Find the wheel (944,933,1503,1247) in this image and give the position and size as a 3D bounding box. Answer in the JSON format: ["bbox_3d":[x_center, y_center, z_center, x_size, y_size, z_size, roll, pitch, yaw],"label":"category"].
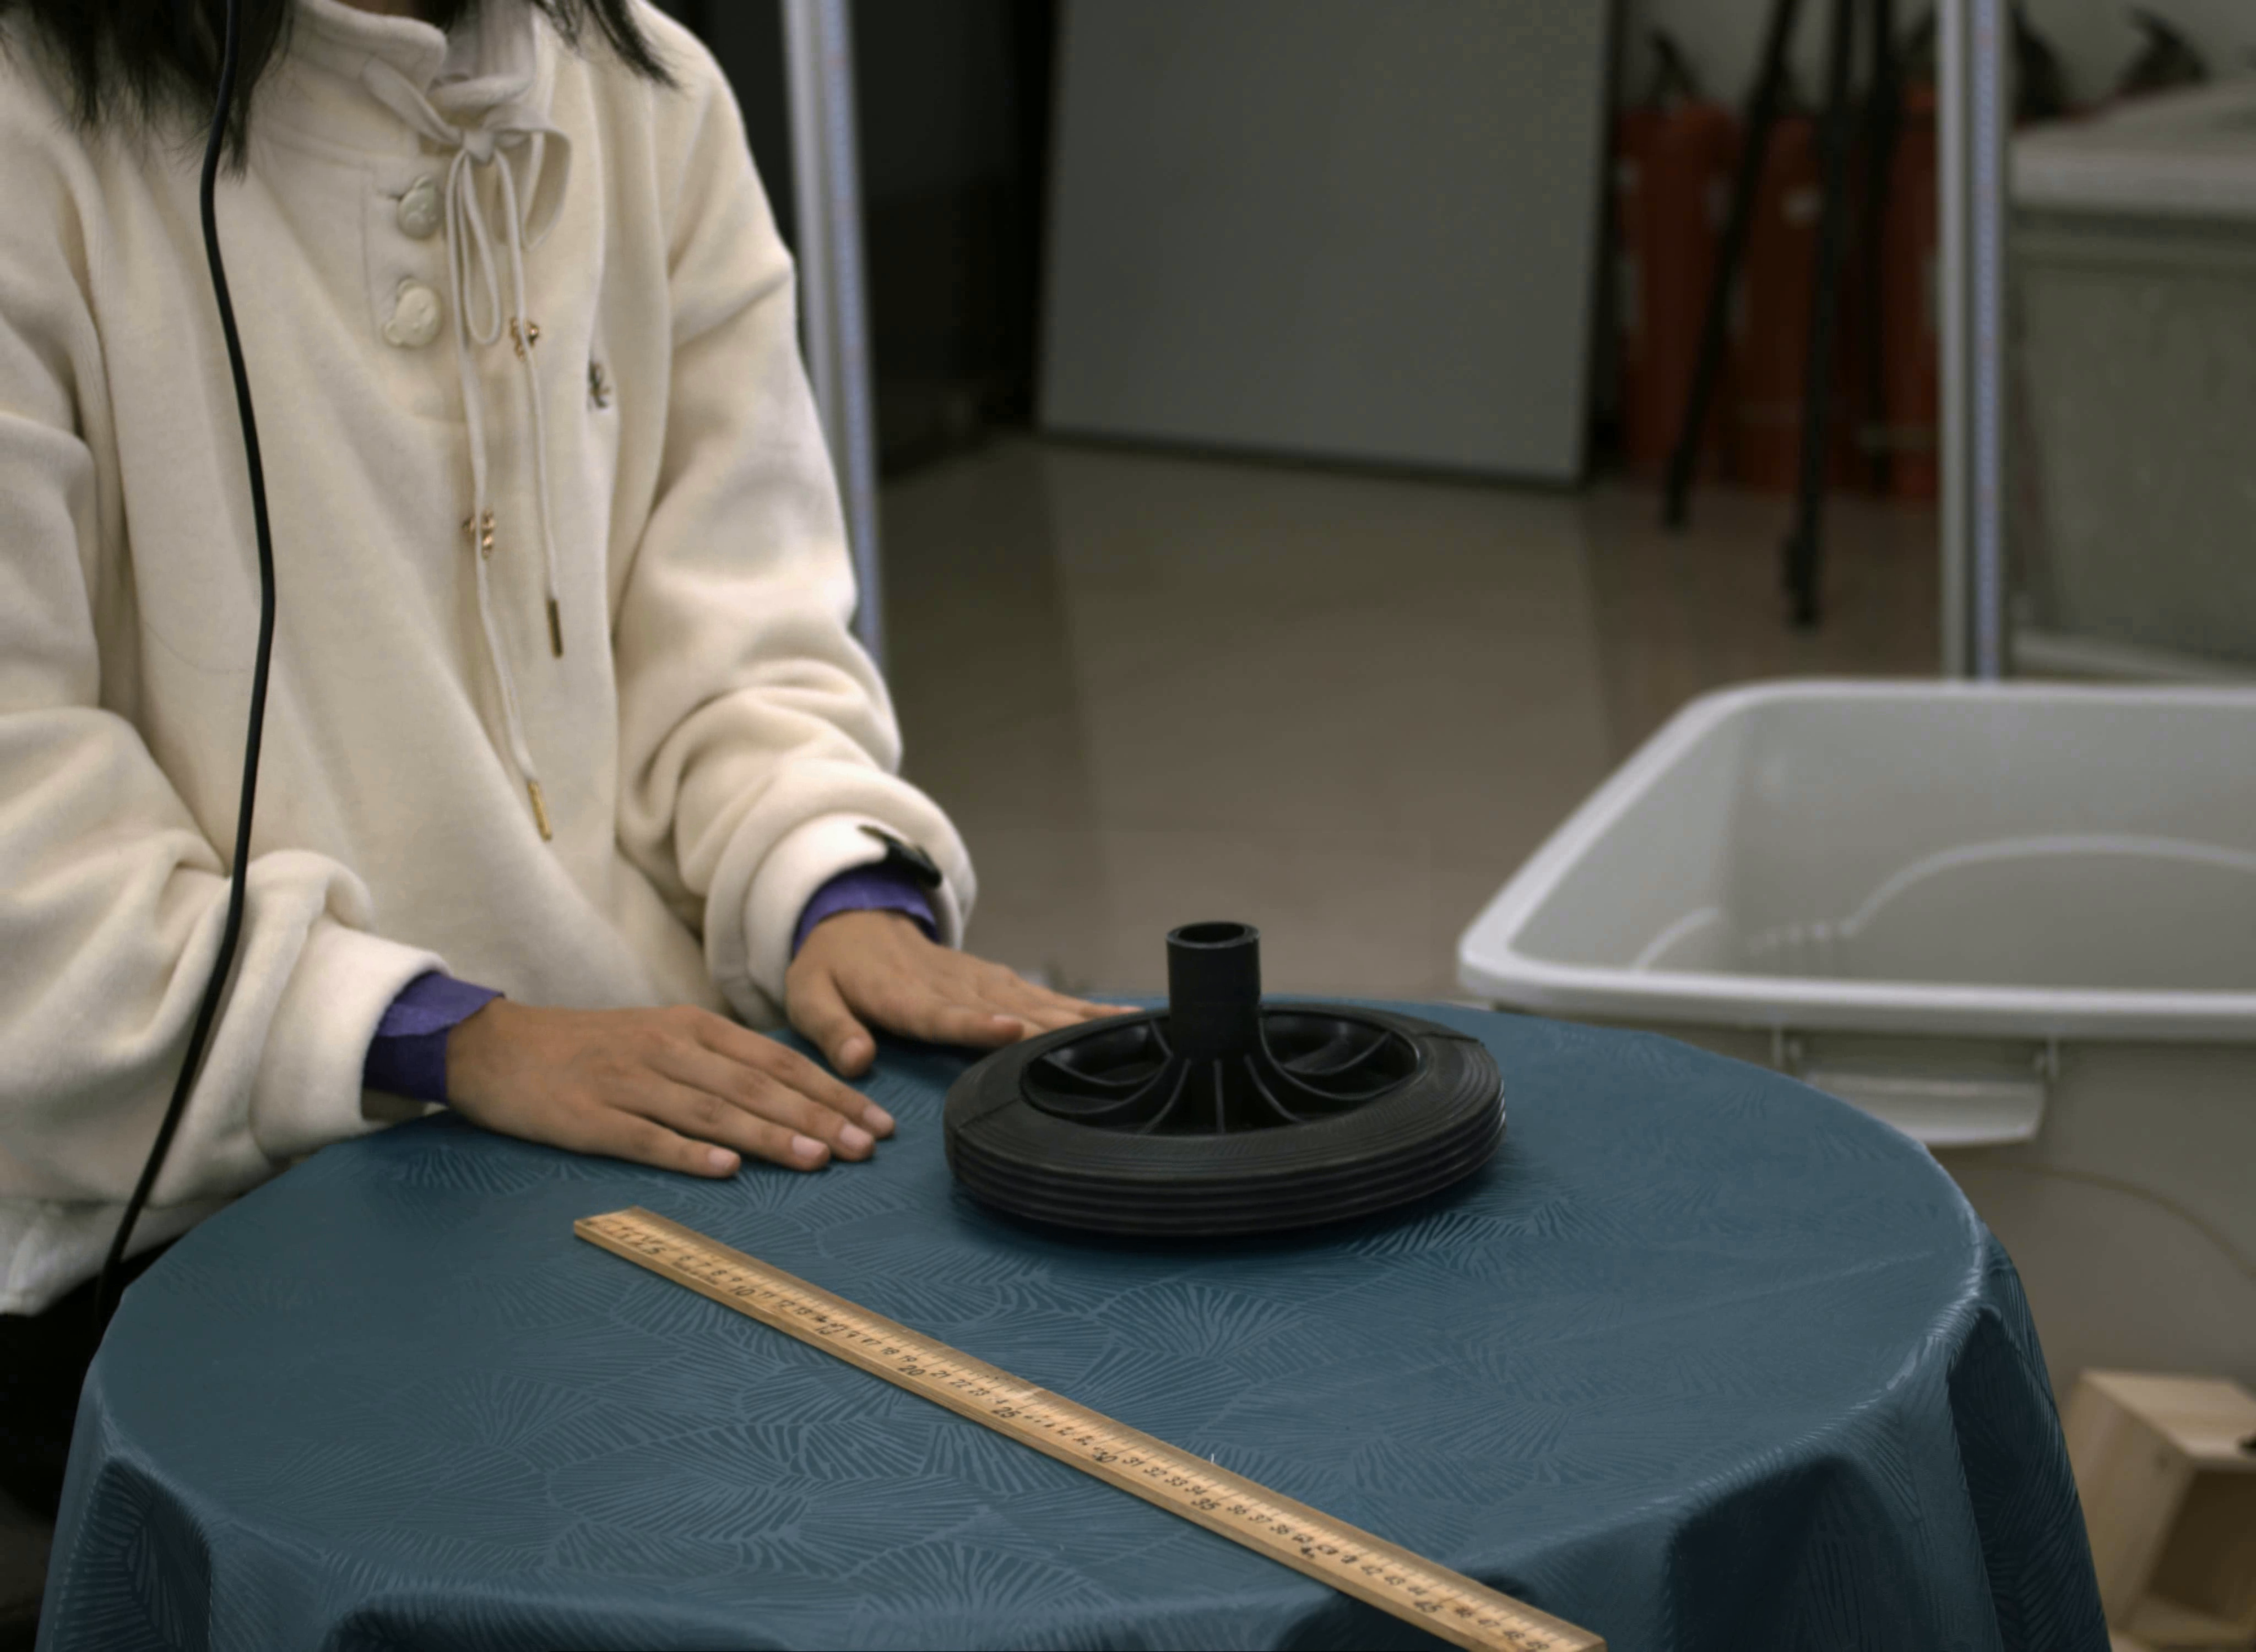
[{"bbox_3d":[0.030,0.078,1.777,0.187,0.080,0.188,1,15,19],"label":"wheel"}]

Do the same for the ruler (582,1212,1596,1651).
[{"bbox_3d":[-0.030,0.171,1.566,0.026,0.006,0.506,-14,17,-31],"label":"ruler"}]
